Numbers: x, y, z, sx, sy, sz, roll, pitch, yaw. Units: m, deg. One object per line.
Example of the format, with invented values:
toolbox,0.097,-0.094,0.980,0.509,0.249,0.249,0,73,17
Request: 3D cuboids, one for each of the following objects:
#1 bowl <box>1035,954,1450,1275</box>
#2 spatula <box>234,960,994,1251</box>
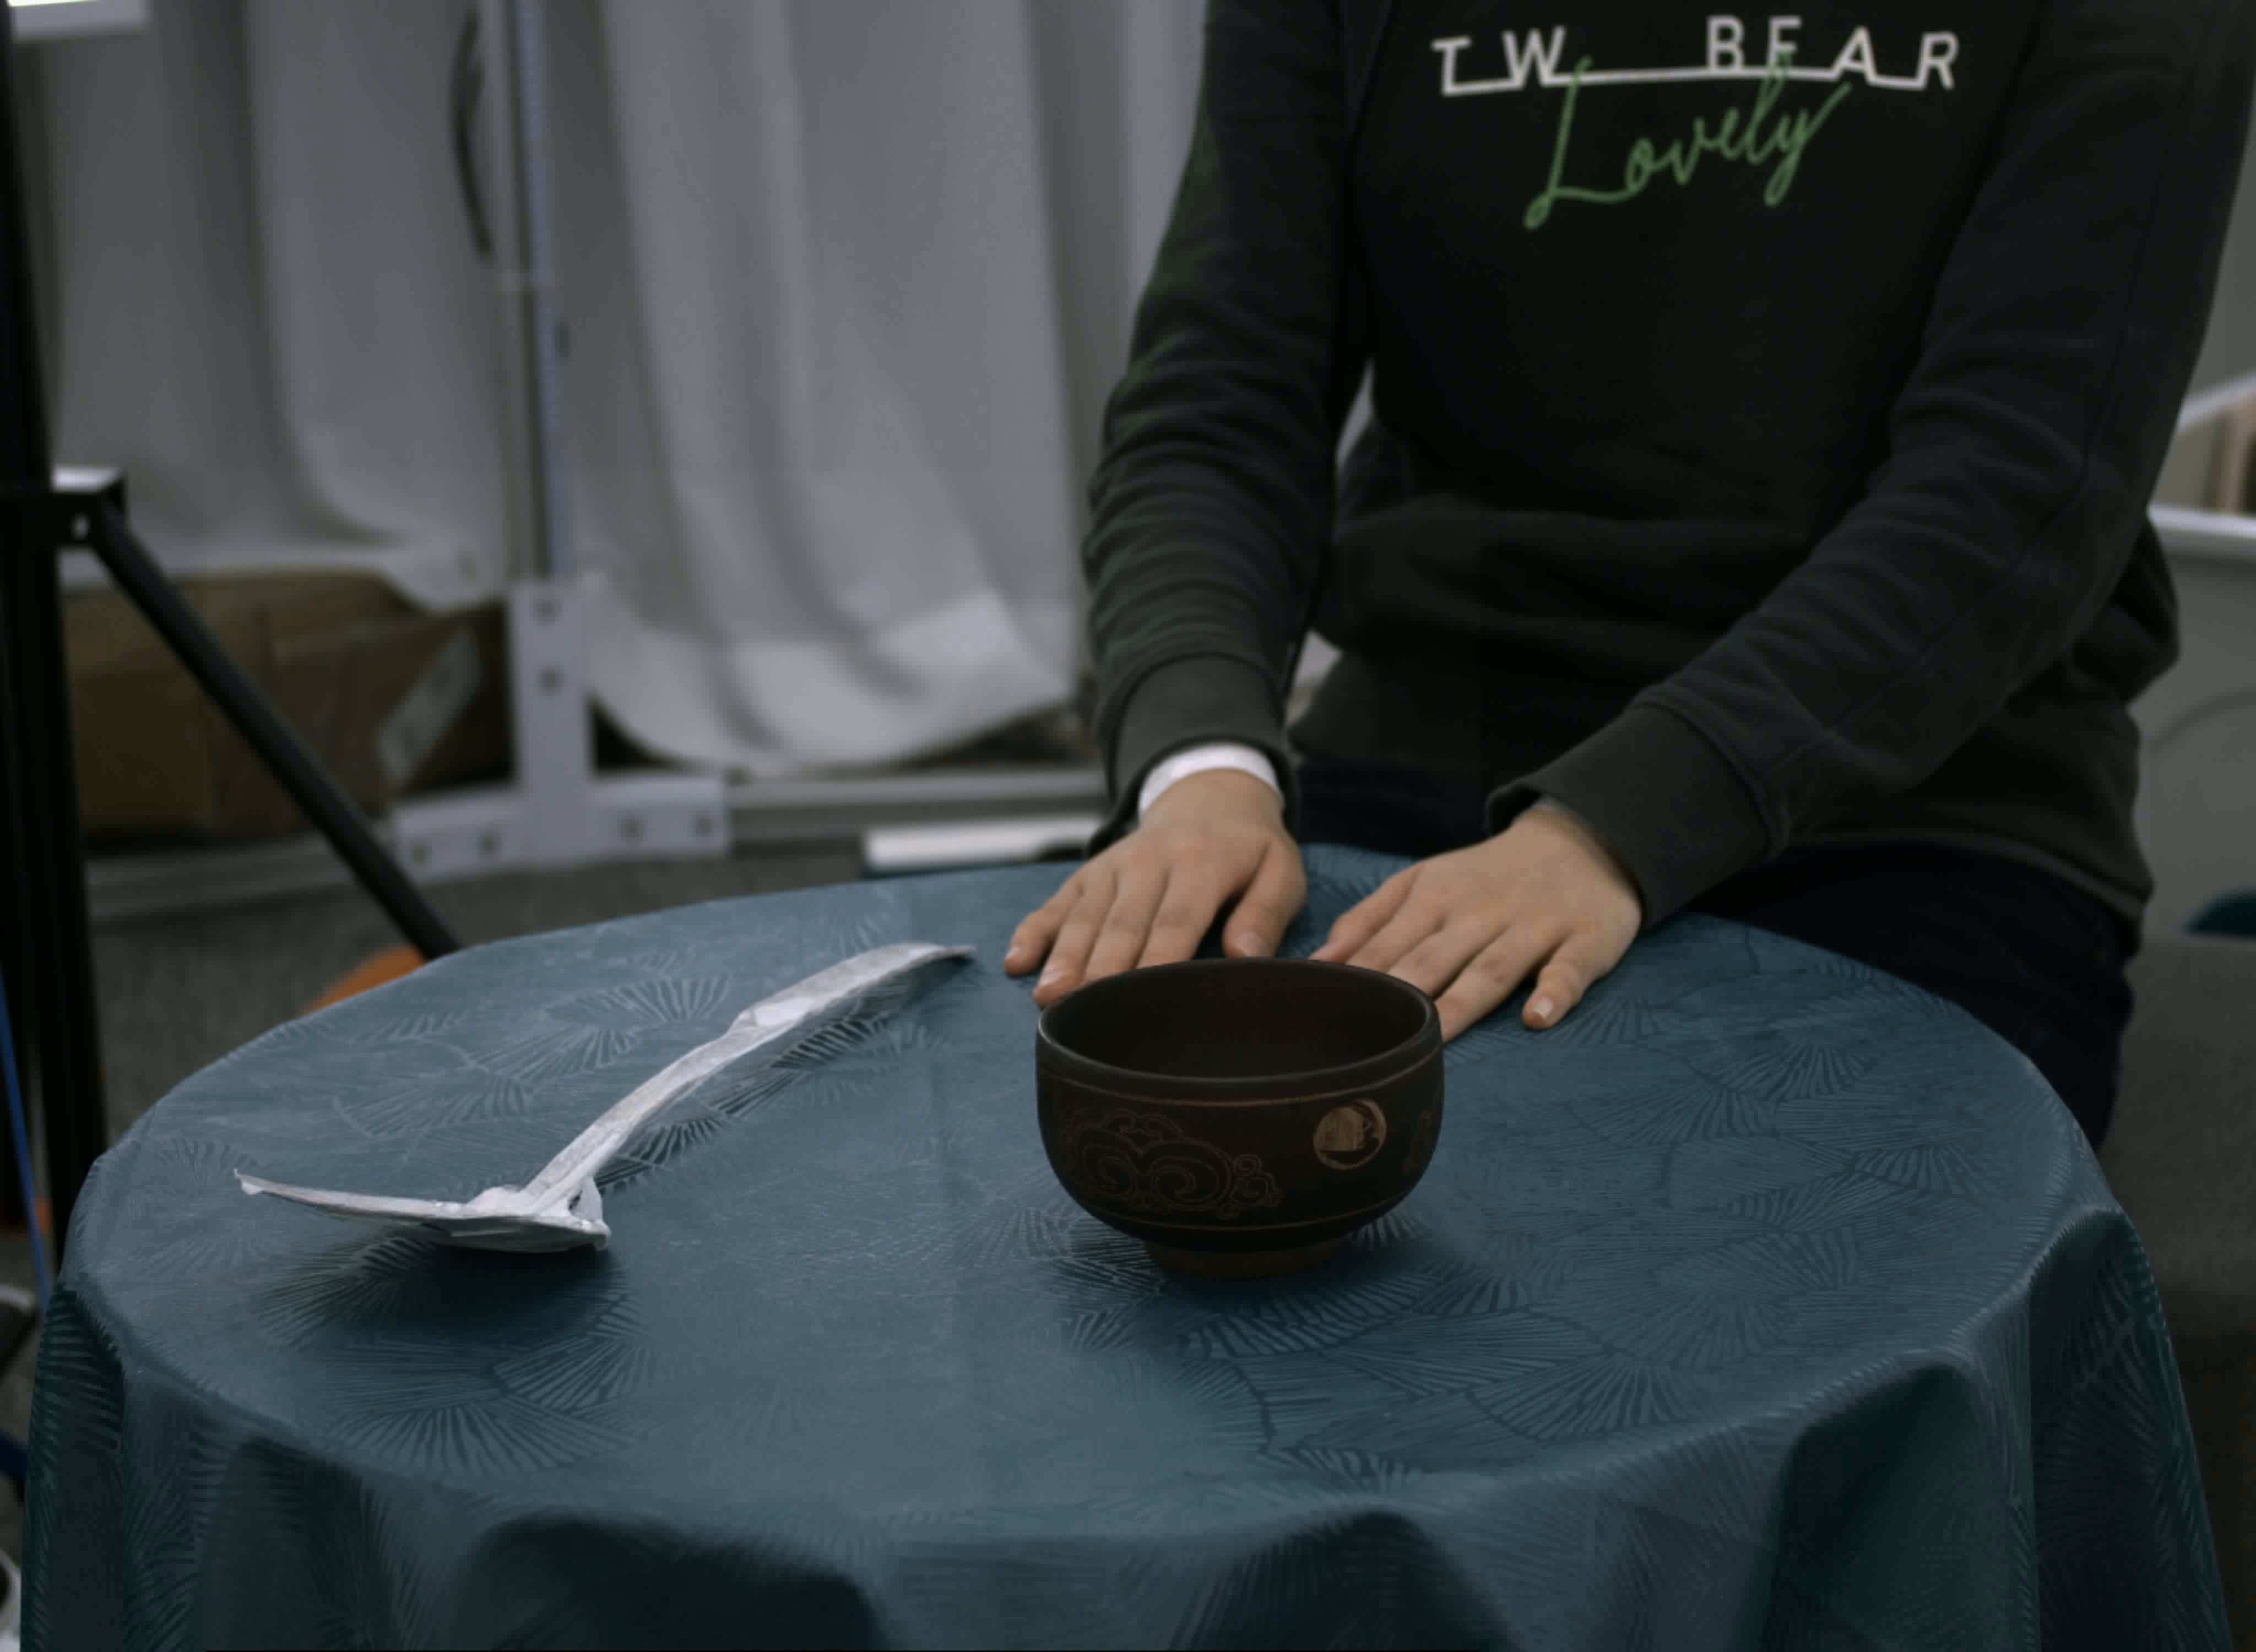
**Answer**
bowl,0.033,0.085,1.502,0.117,0.070,0.118,-1,15,-1
spatula,-0.135,0.075,1.626,0.100,0.045,0.359,3,17,27
